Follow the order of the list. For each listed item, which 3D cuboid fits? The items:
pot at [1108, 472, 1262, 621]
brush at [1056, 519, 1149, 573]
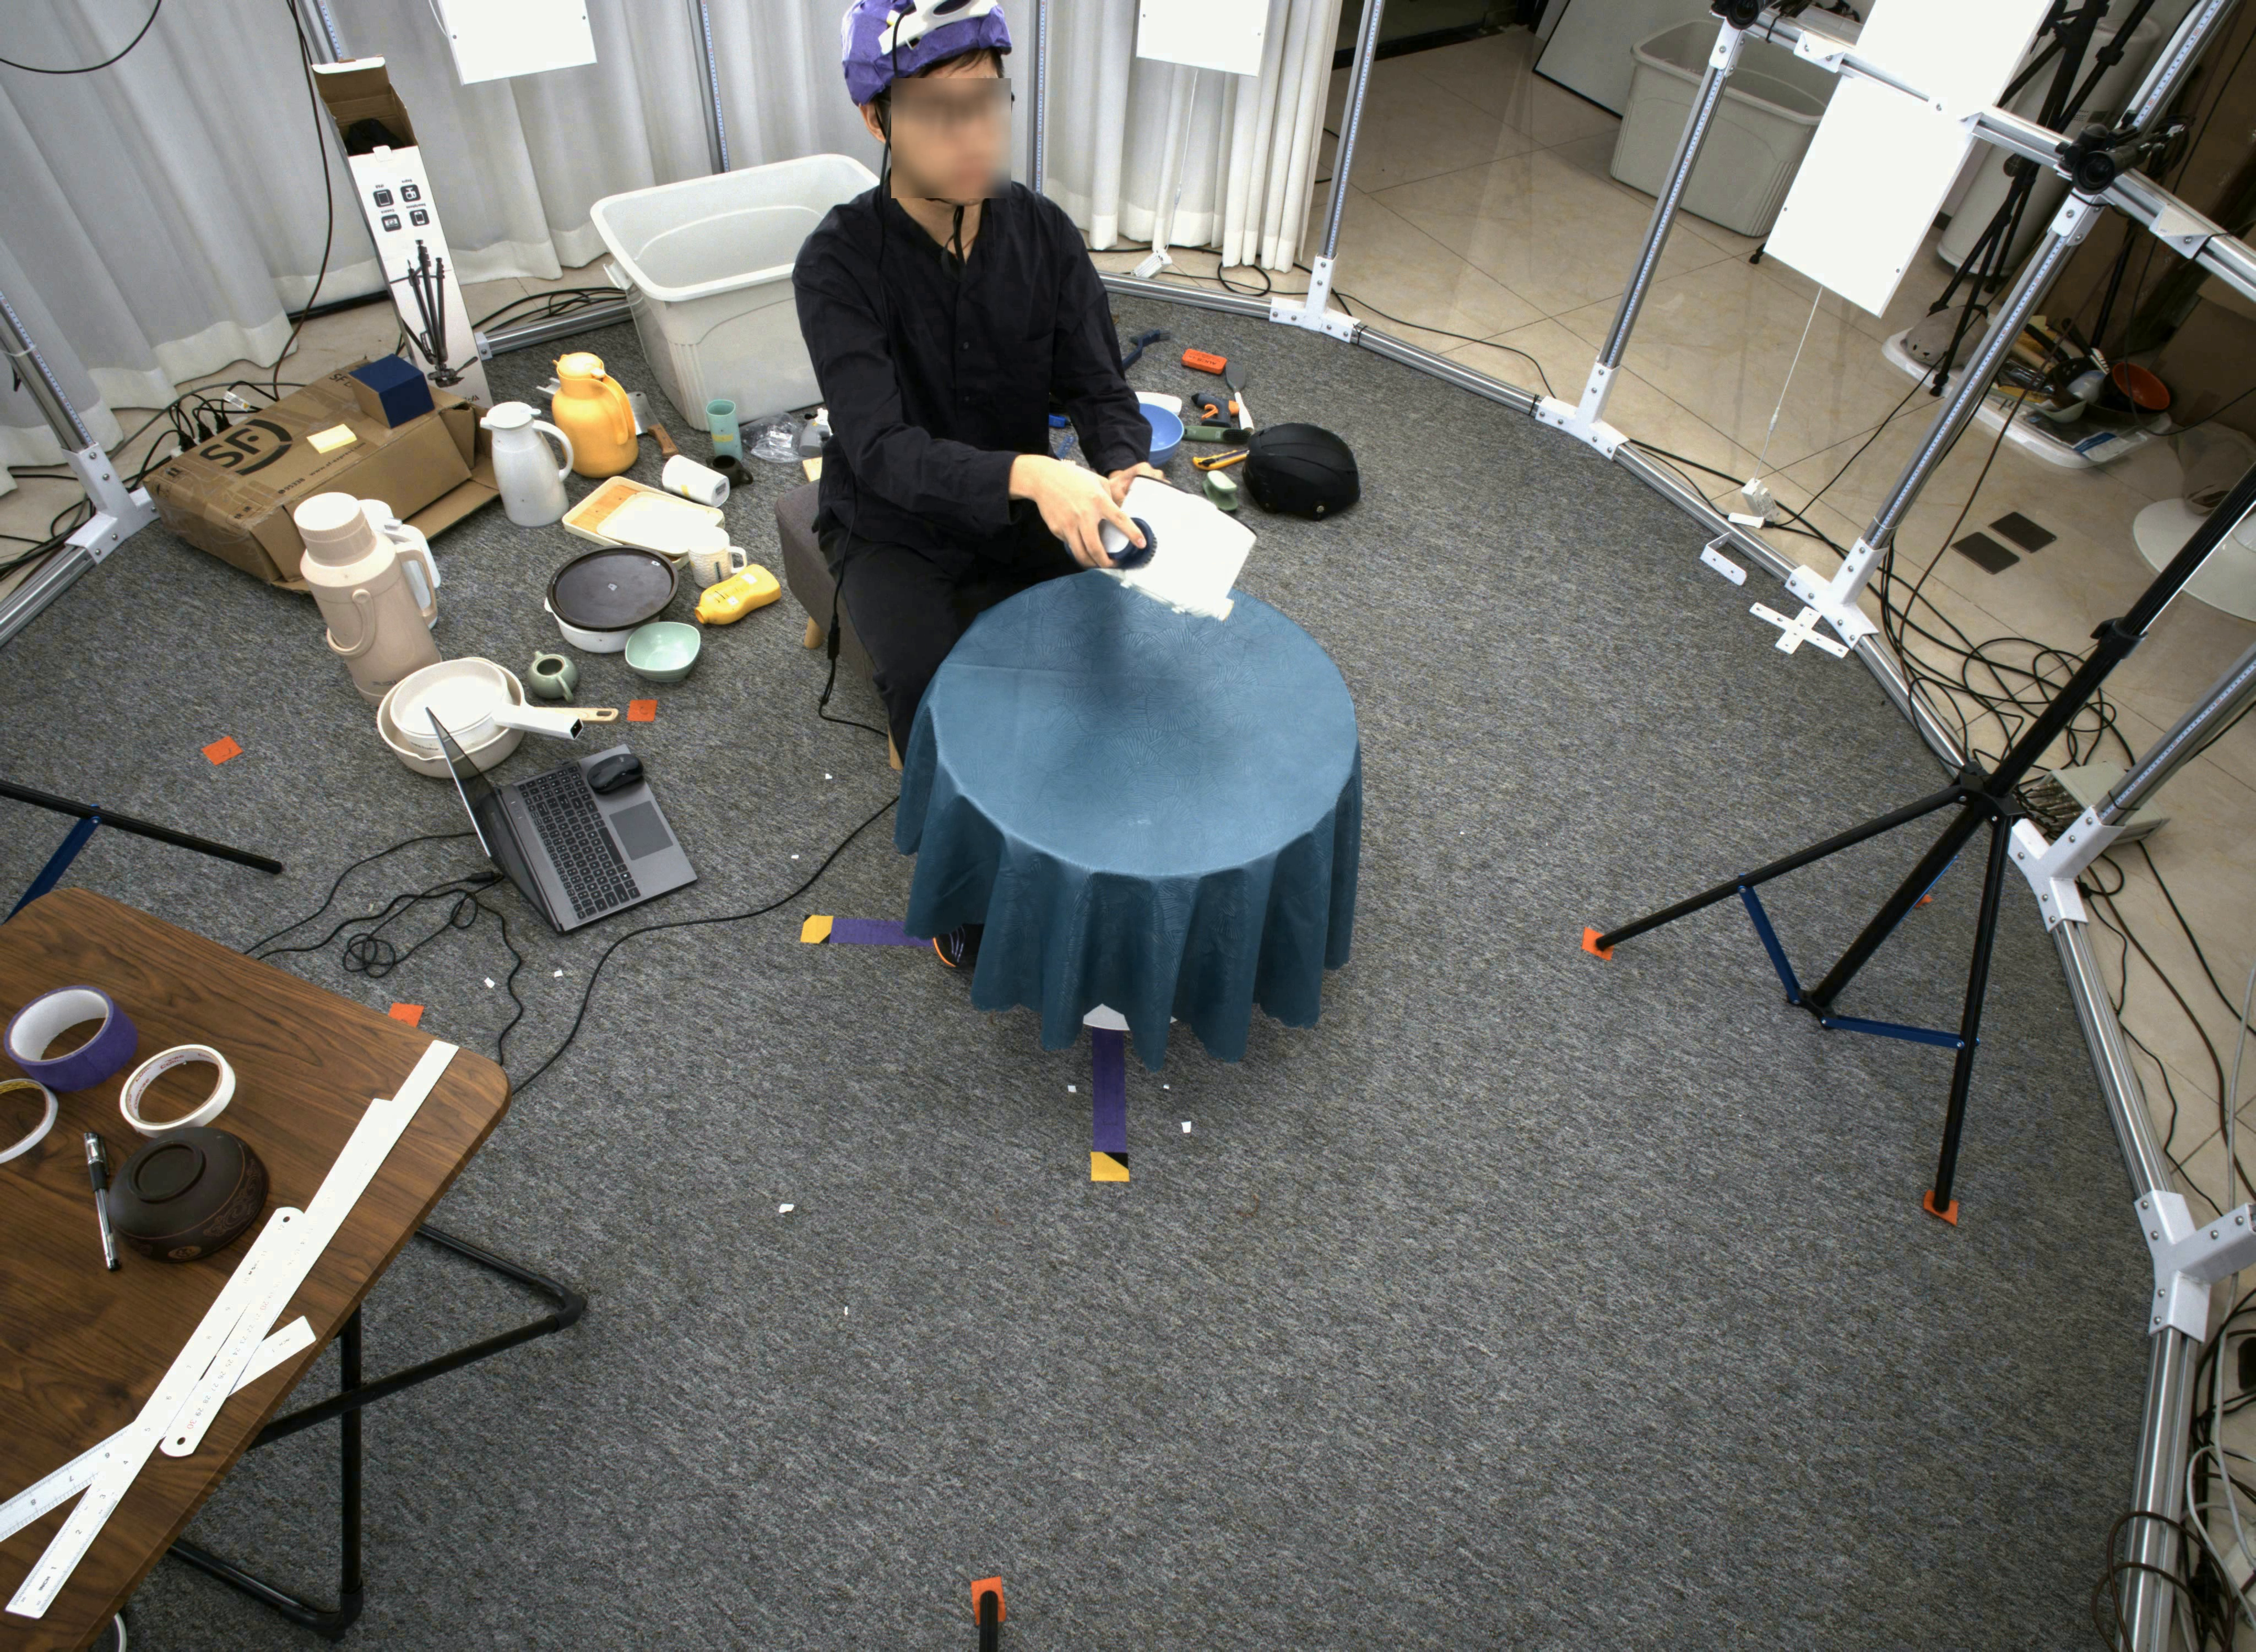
[{"bbox_3d":[0.074,-0.368,1.732,0.190,0.142,0.242,24,6,-7],"label":"pot"},{"bbox_3d":[-0.031,-0.357,1.641,0.122,0.068,0.061,13,5,32],"label":"brush"}]
